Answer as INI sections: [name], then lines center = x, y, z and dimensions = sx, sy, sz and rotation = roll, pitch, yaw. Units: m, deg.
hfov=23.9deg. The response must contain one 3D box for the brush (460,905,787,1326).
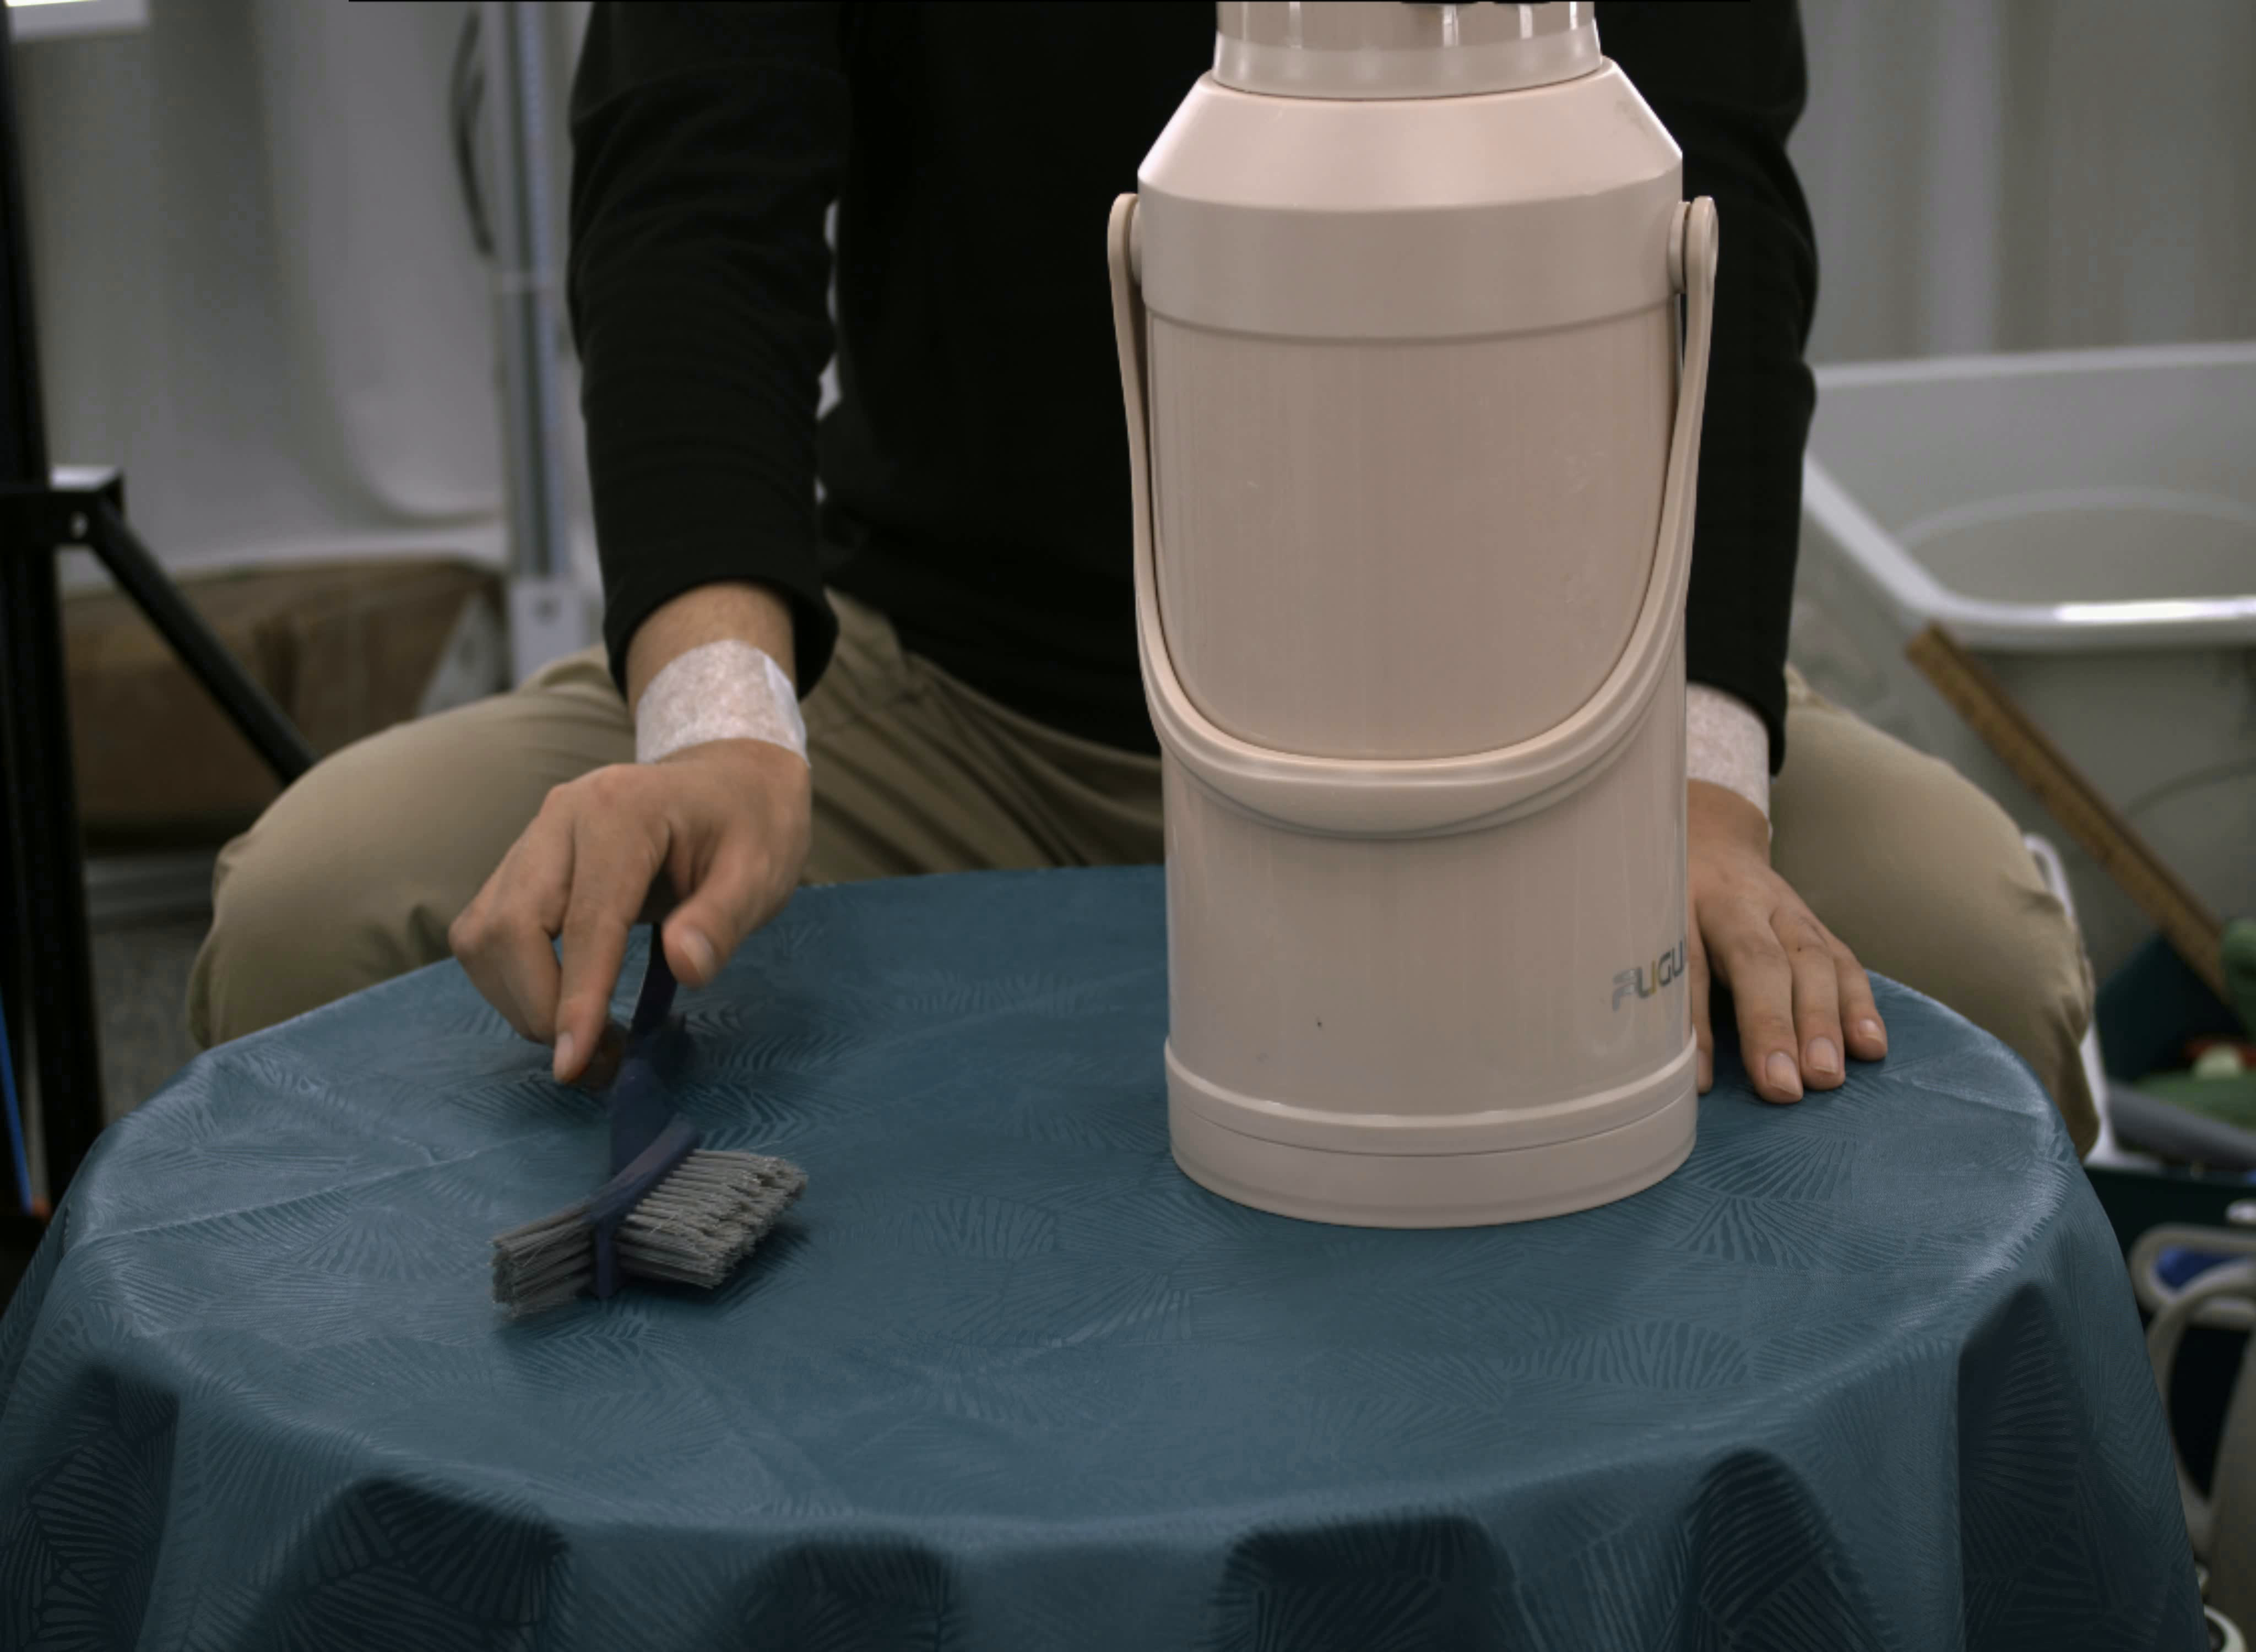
[brush]
center = -0.155, 0.084, 1.608
dimensions = 0.095, 0.033, 0.276
rotation = -3, 18, -6

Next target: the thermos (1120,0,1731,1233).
[thermos]
center = 0.092, -0.100, 1.551
dimensions = 0.177, 0.406, 0.205
rotation = 1, 15, 16
